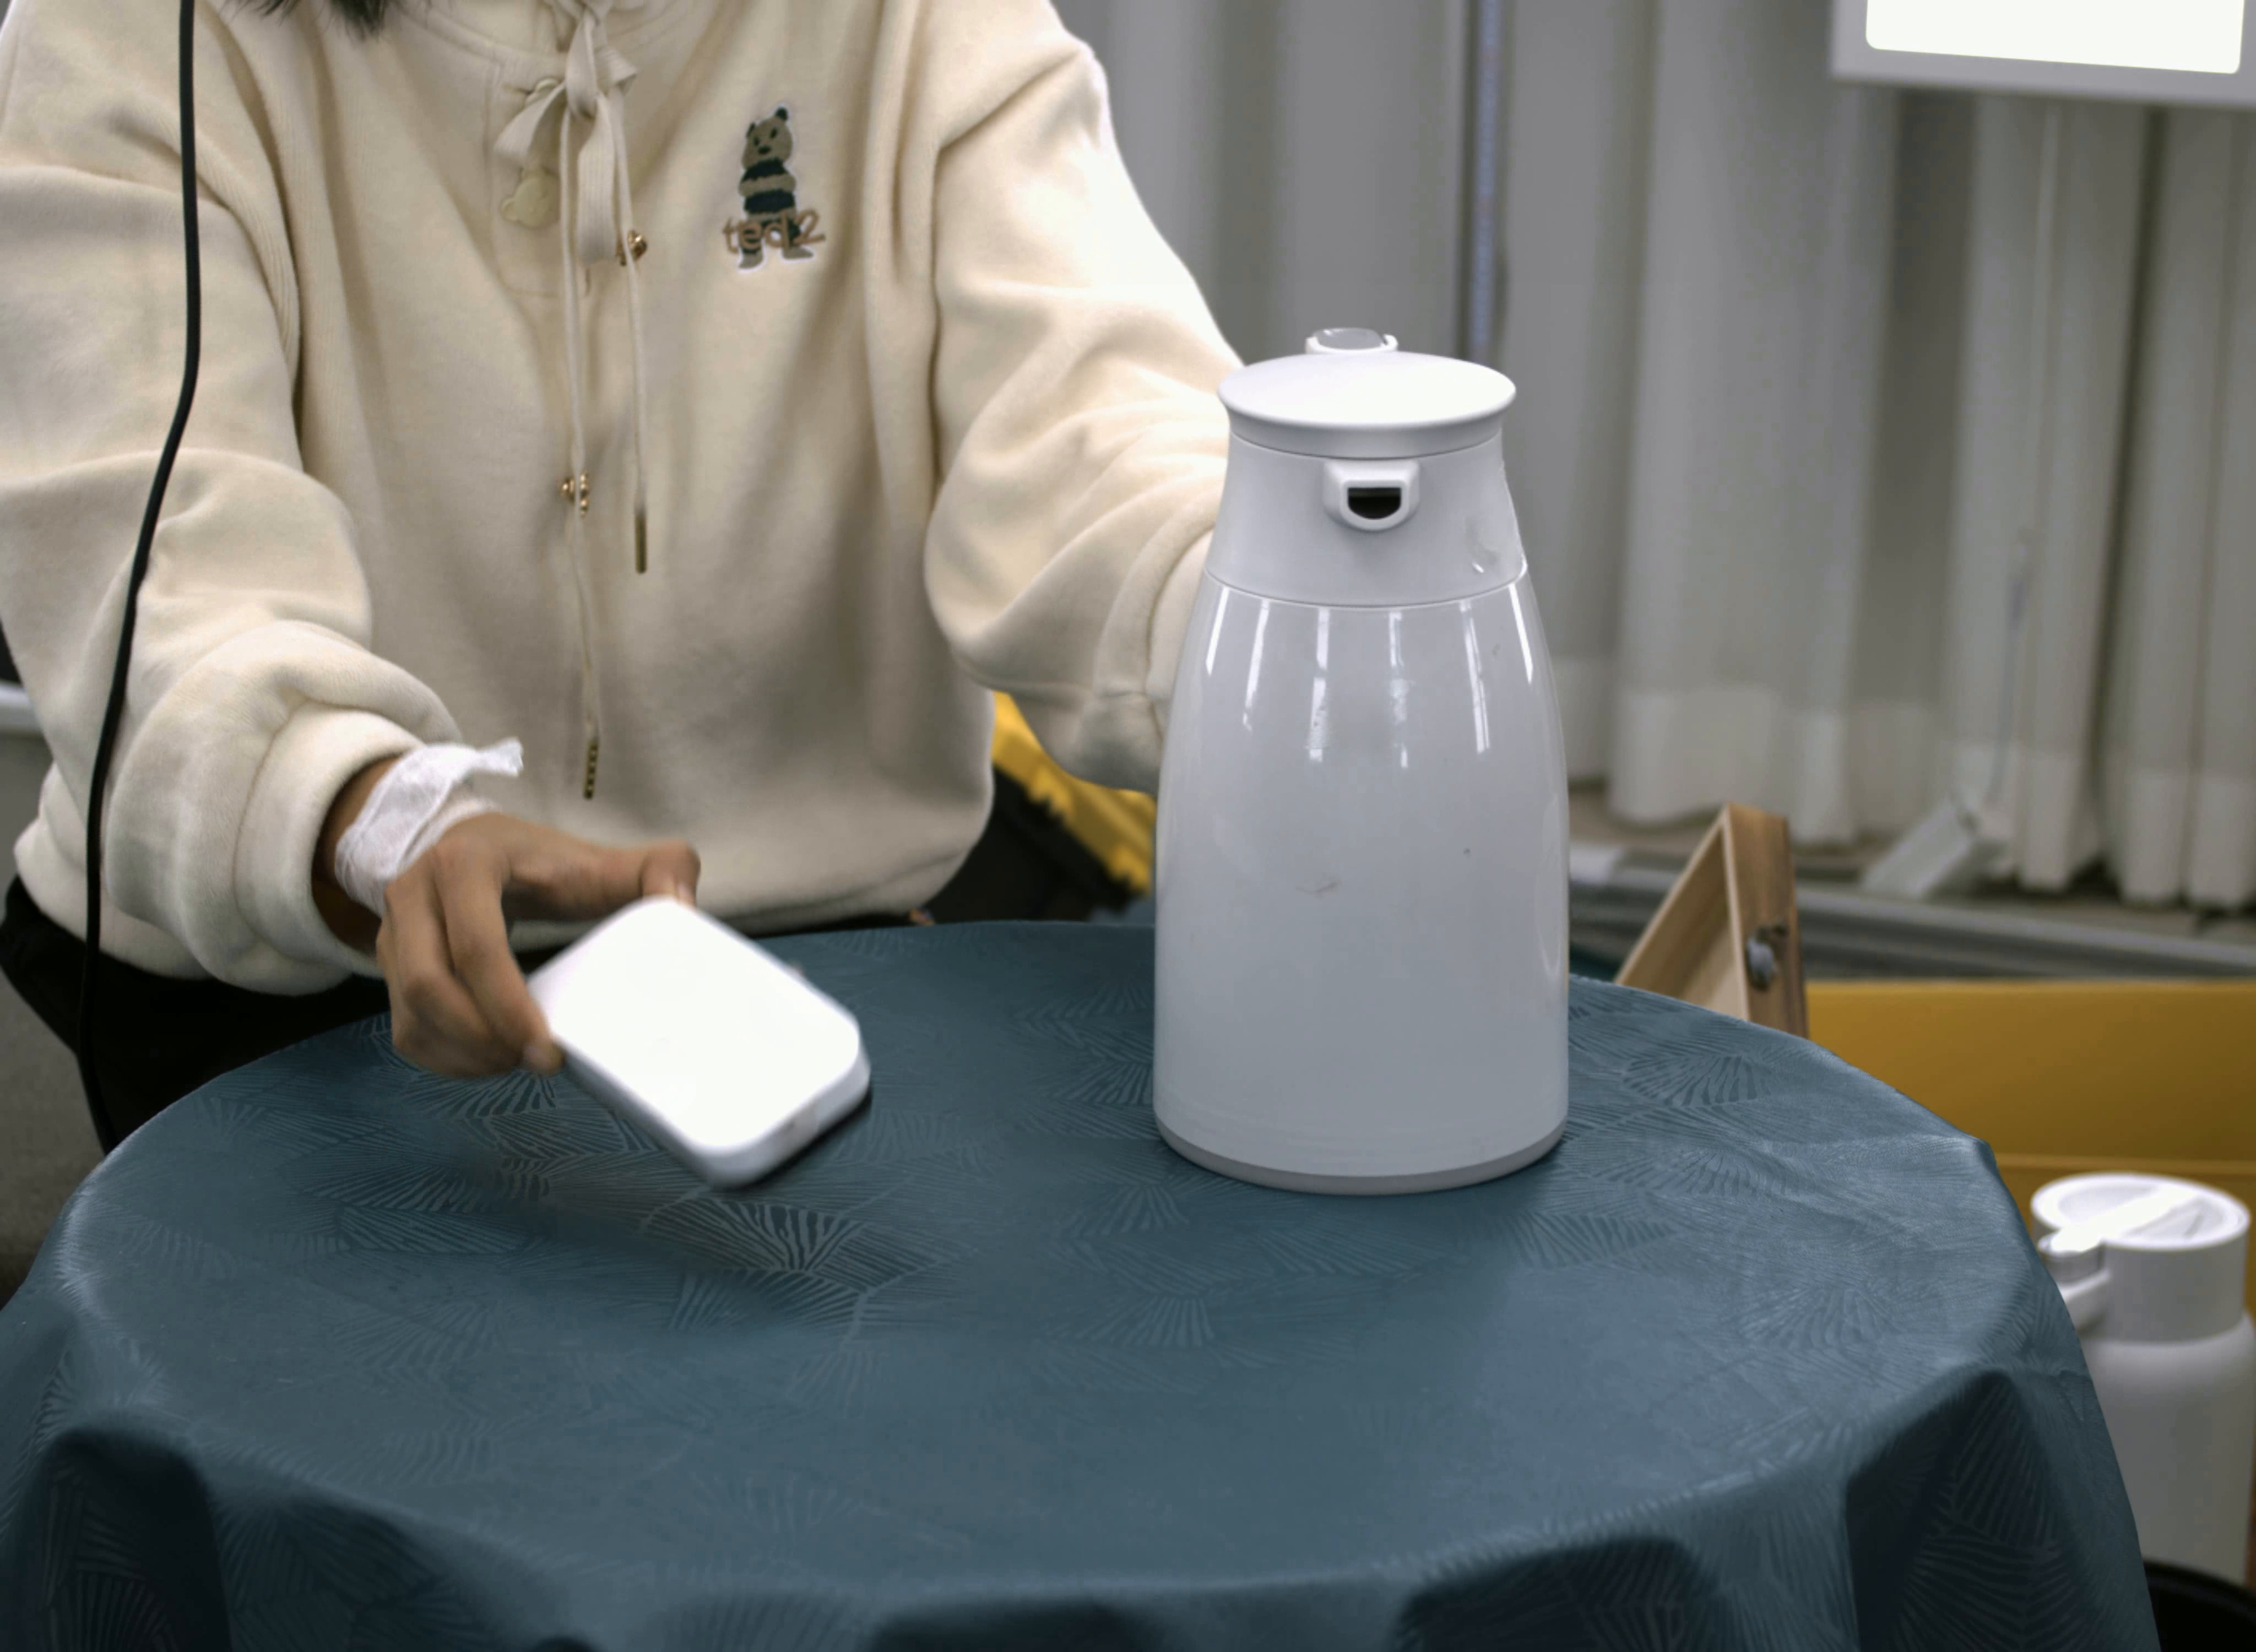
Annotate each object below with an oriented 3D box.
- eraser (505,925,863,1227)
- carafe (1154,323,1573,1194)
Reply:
[{"bbox_3d":[-0.131,0.071,1.568,0.063,0.035,0.129,-33,38,-20],"label":"eraser"},{"bbox_3d":[0.073,-0.030,1.655,0.132,0.251,0.166,-1,18,-1],"label":"carafe"}]
